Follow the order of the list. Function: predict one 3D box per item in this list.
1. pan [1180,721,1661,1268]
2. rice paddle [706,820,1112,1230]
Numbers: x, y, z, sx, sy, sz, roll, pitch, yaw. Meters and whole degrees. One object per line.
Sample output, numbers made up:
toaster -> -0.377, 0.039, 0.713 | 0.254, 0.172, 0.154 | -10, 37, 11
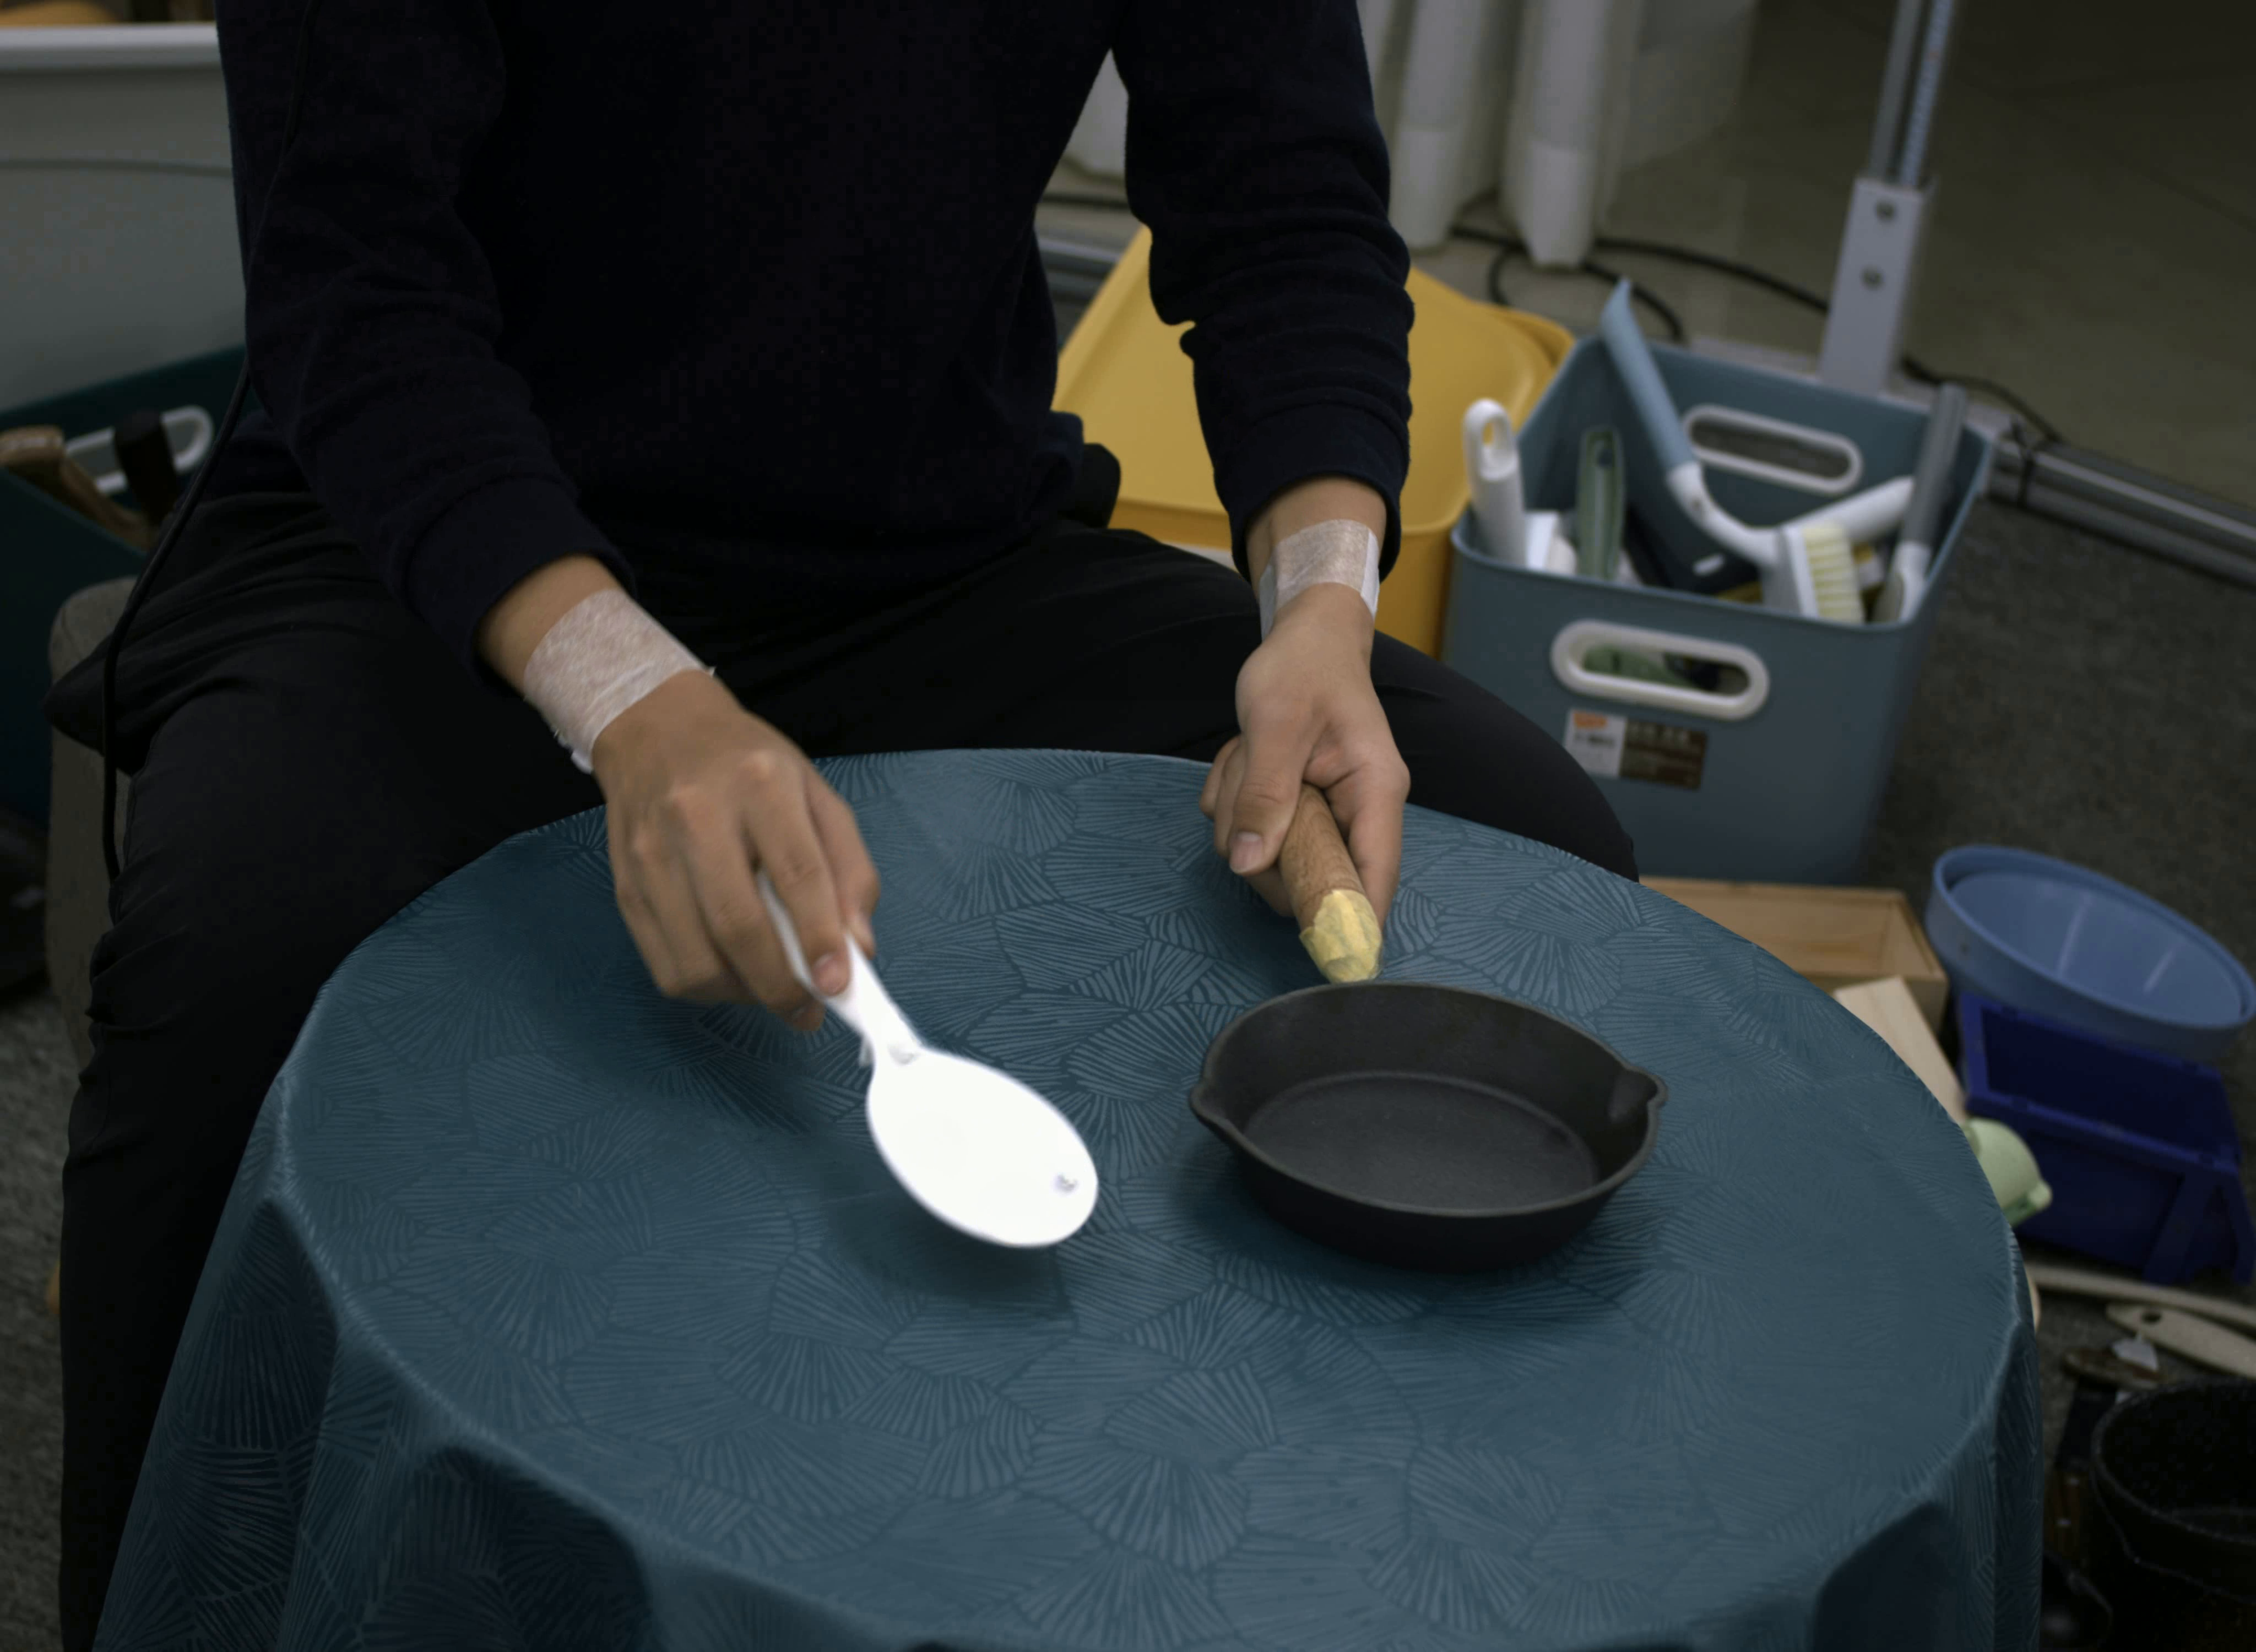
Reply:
pan -> 0.085, 0.057, 1.892 | 0.168, 0.049, 0.327 | -1, 29, -11
rice paddle -> -0.076, 0.068, 1.790 | 0.068, 0.029, 0.207 | -16, 45, -32
